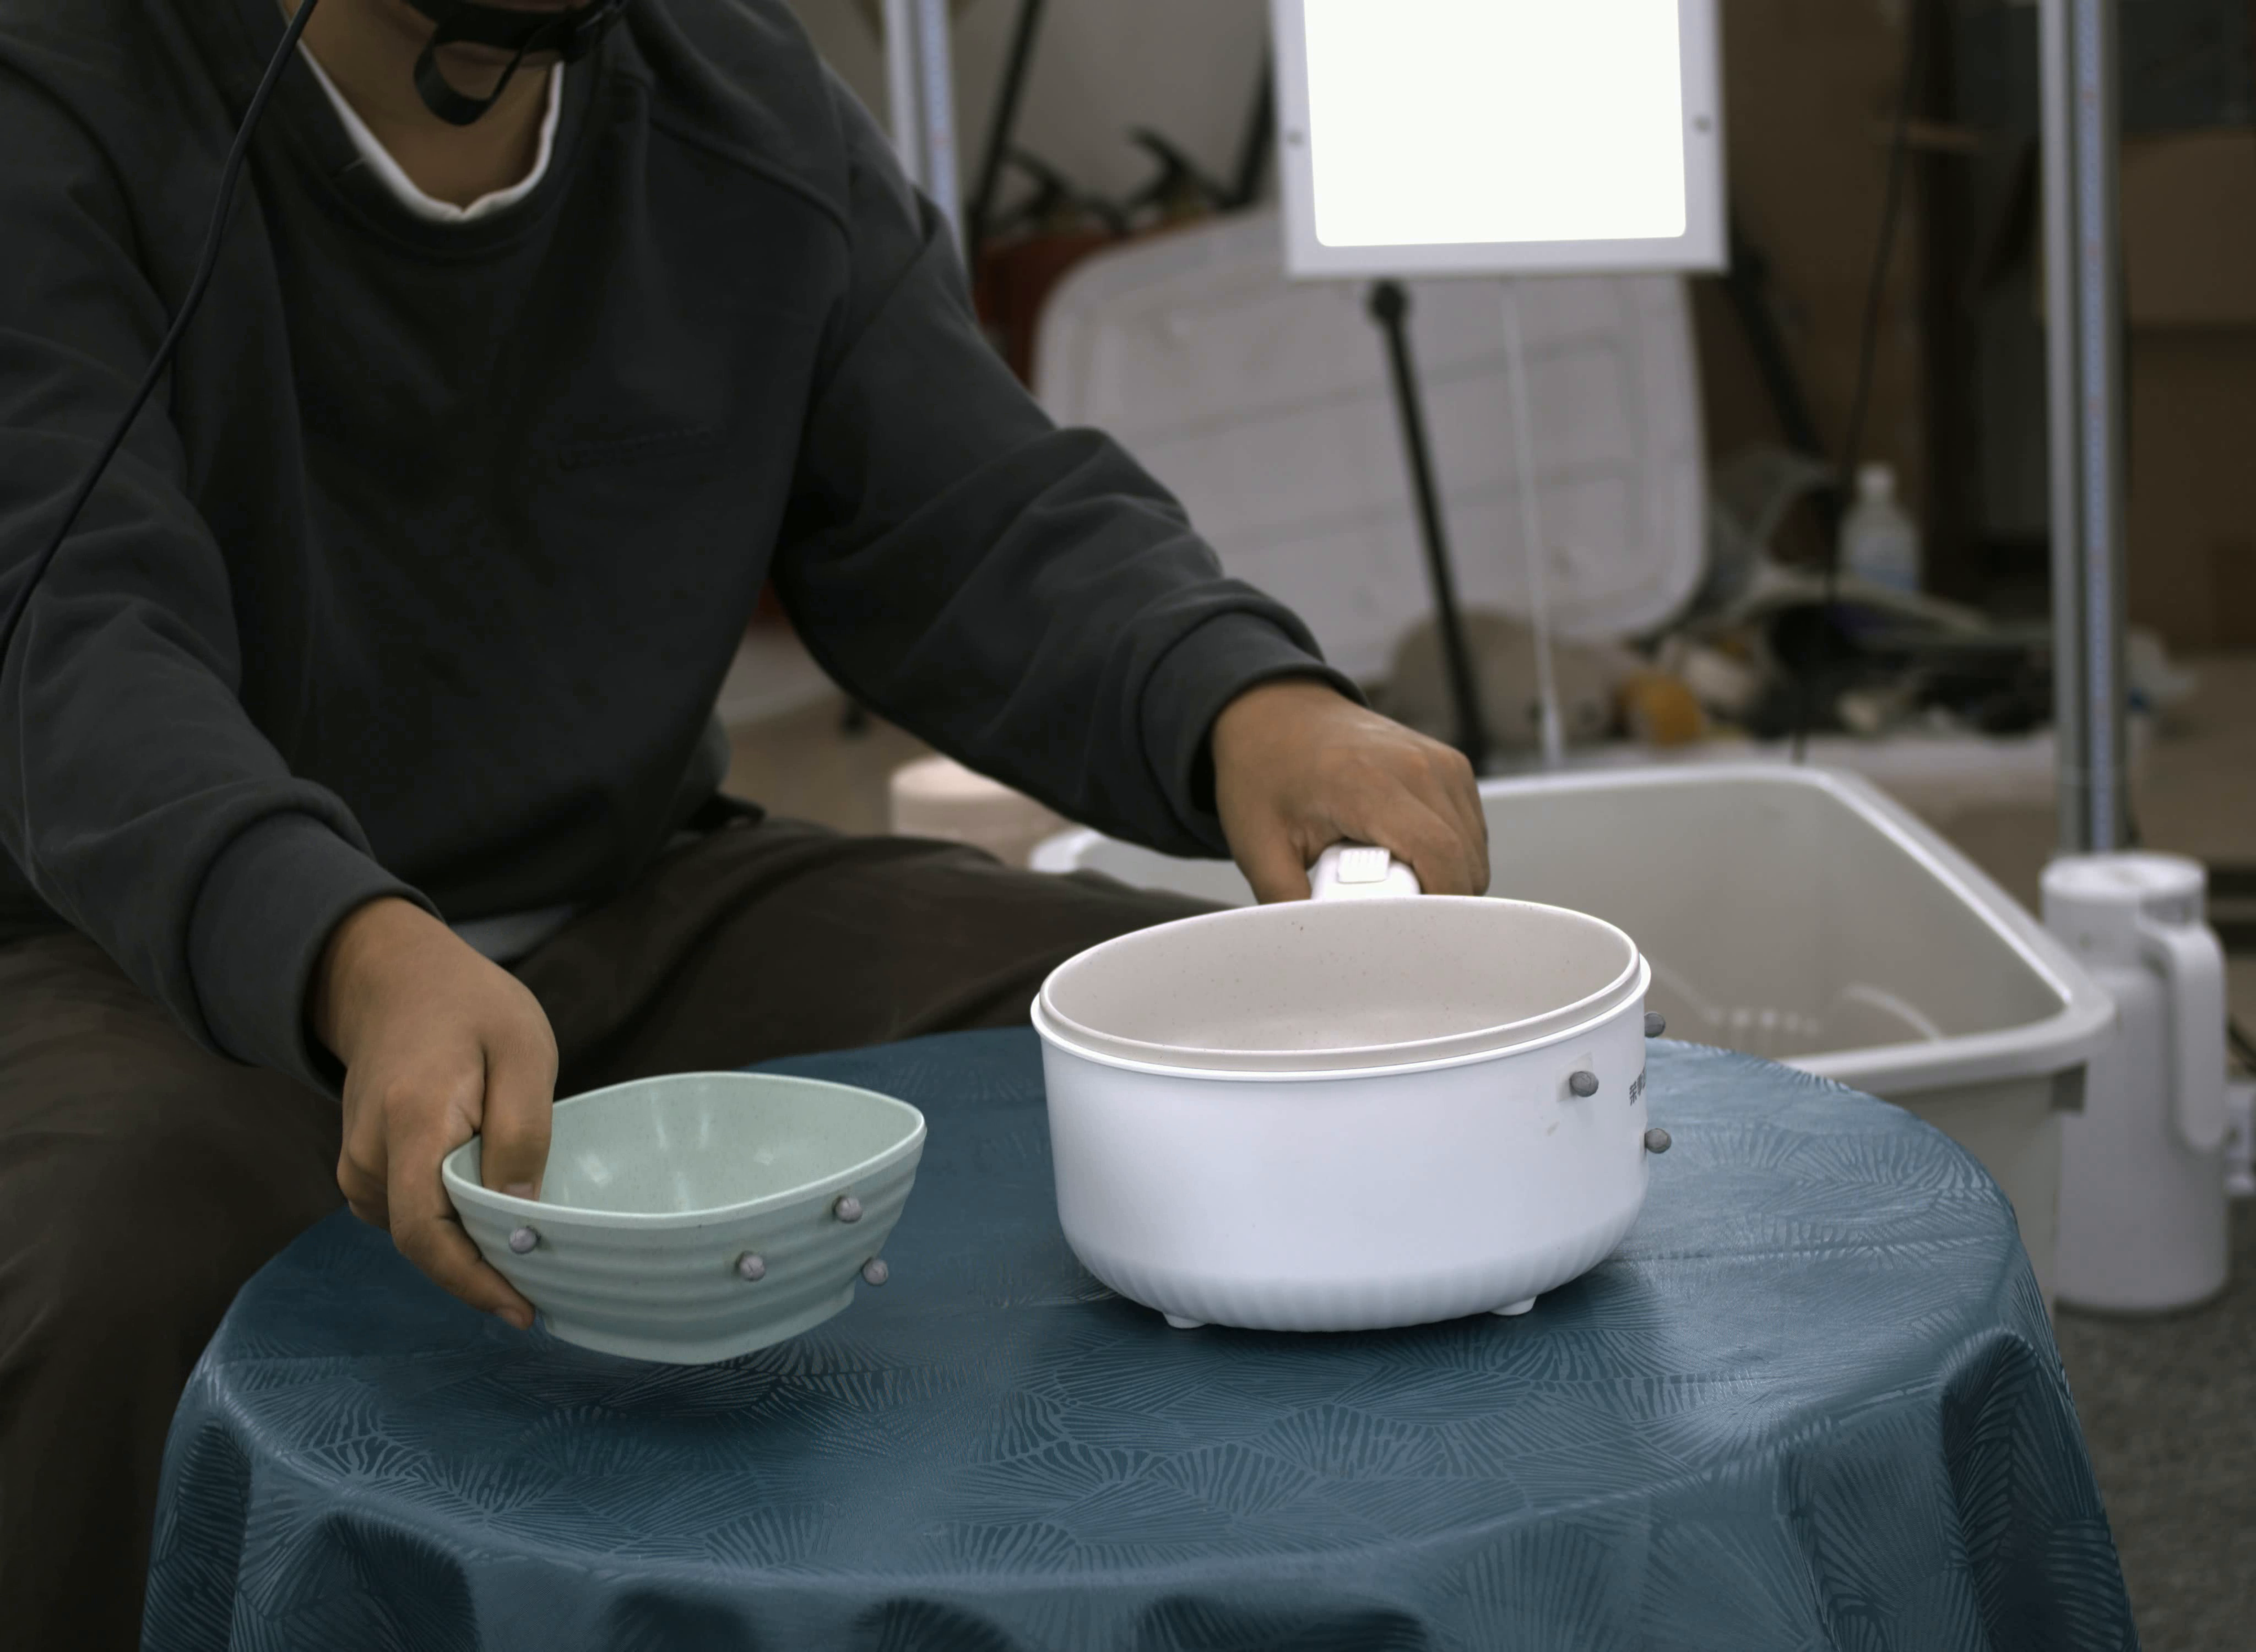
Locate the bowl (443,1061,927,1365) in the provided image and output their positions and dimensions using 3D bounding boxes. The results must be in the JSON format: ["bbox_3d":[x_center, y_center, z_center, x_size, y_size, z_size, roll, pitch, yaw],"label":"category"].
[{"bbox_3d":[-0.137,0.124,1.725,0.151,0.059,0.151,-3,16,0],"label":"bowl"}]

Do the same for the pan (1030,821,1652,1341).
[{"bbox_3d":[0.079,0.082,1.861,0.202,0.102,0.352,-5,12,7],"label":"pan"}]
